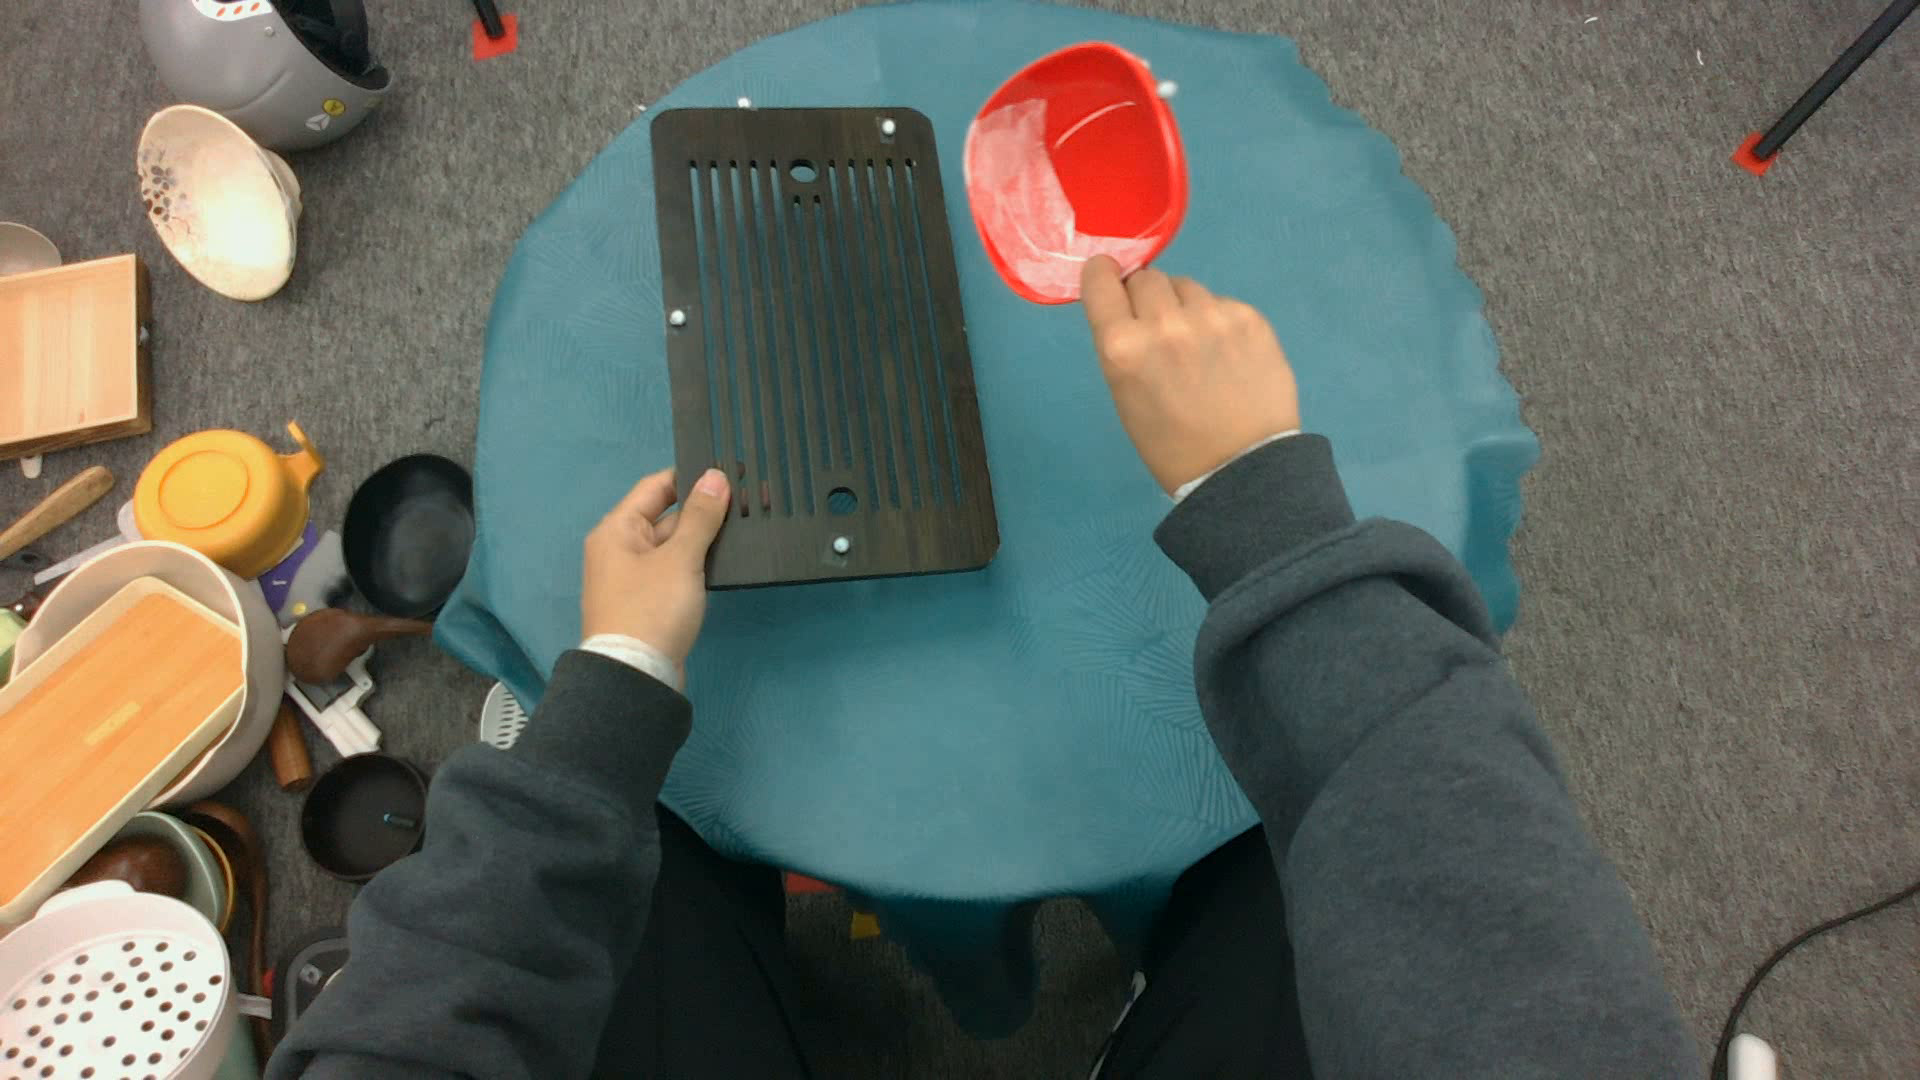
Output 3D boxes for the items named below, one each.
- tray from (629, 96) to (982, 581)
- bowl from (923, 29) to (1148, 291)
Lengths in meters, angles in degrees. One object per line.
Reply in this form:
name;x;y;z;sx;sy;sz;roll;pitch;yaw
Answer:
tray;-0.092;-0.124;0.778;0.170;0.018;0.307;-4;68;-12
bowl;0.044;-0.178;0.650;0.119;0.118;0.051;49;35;16
